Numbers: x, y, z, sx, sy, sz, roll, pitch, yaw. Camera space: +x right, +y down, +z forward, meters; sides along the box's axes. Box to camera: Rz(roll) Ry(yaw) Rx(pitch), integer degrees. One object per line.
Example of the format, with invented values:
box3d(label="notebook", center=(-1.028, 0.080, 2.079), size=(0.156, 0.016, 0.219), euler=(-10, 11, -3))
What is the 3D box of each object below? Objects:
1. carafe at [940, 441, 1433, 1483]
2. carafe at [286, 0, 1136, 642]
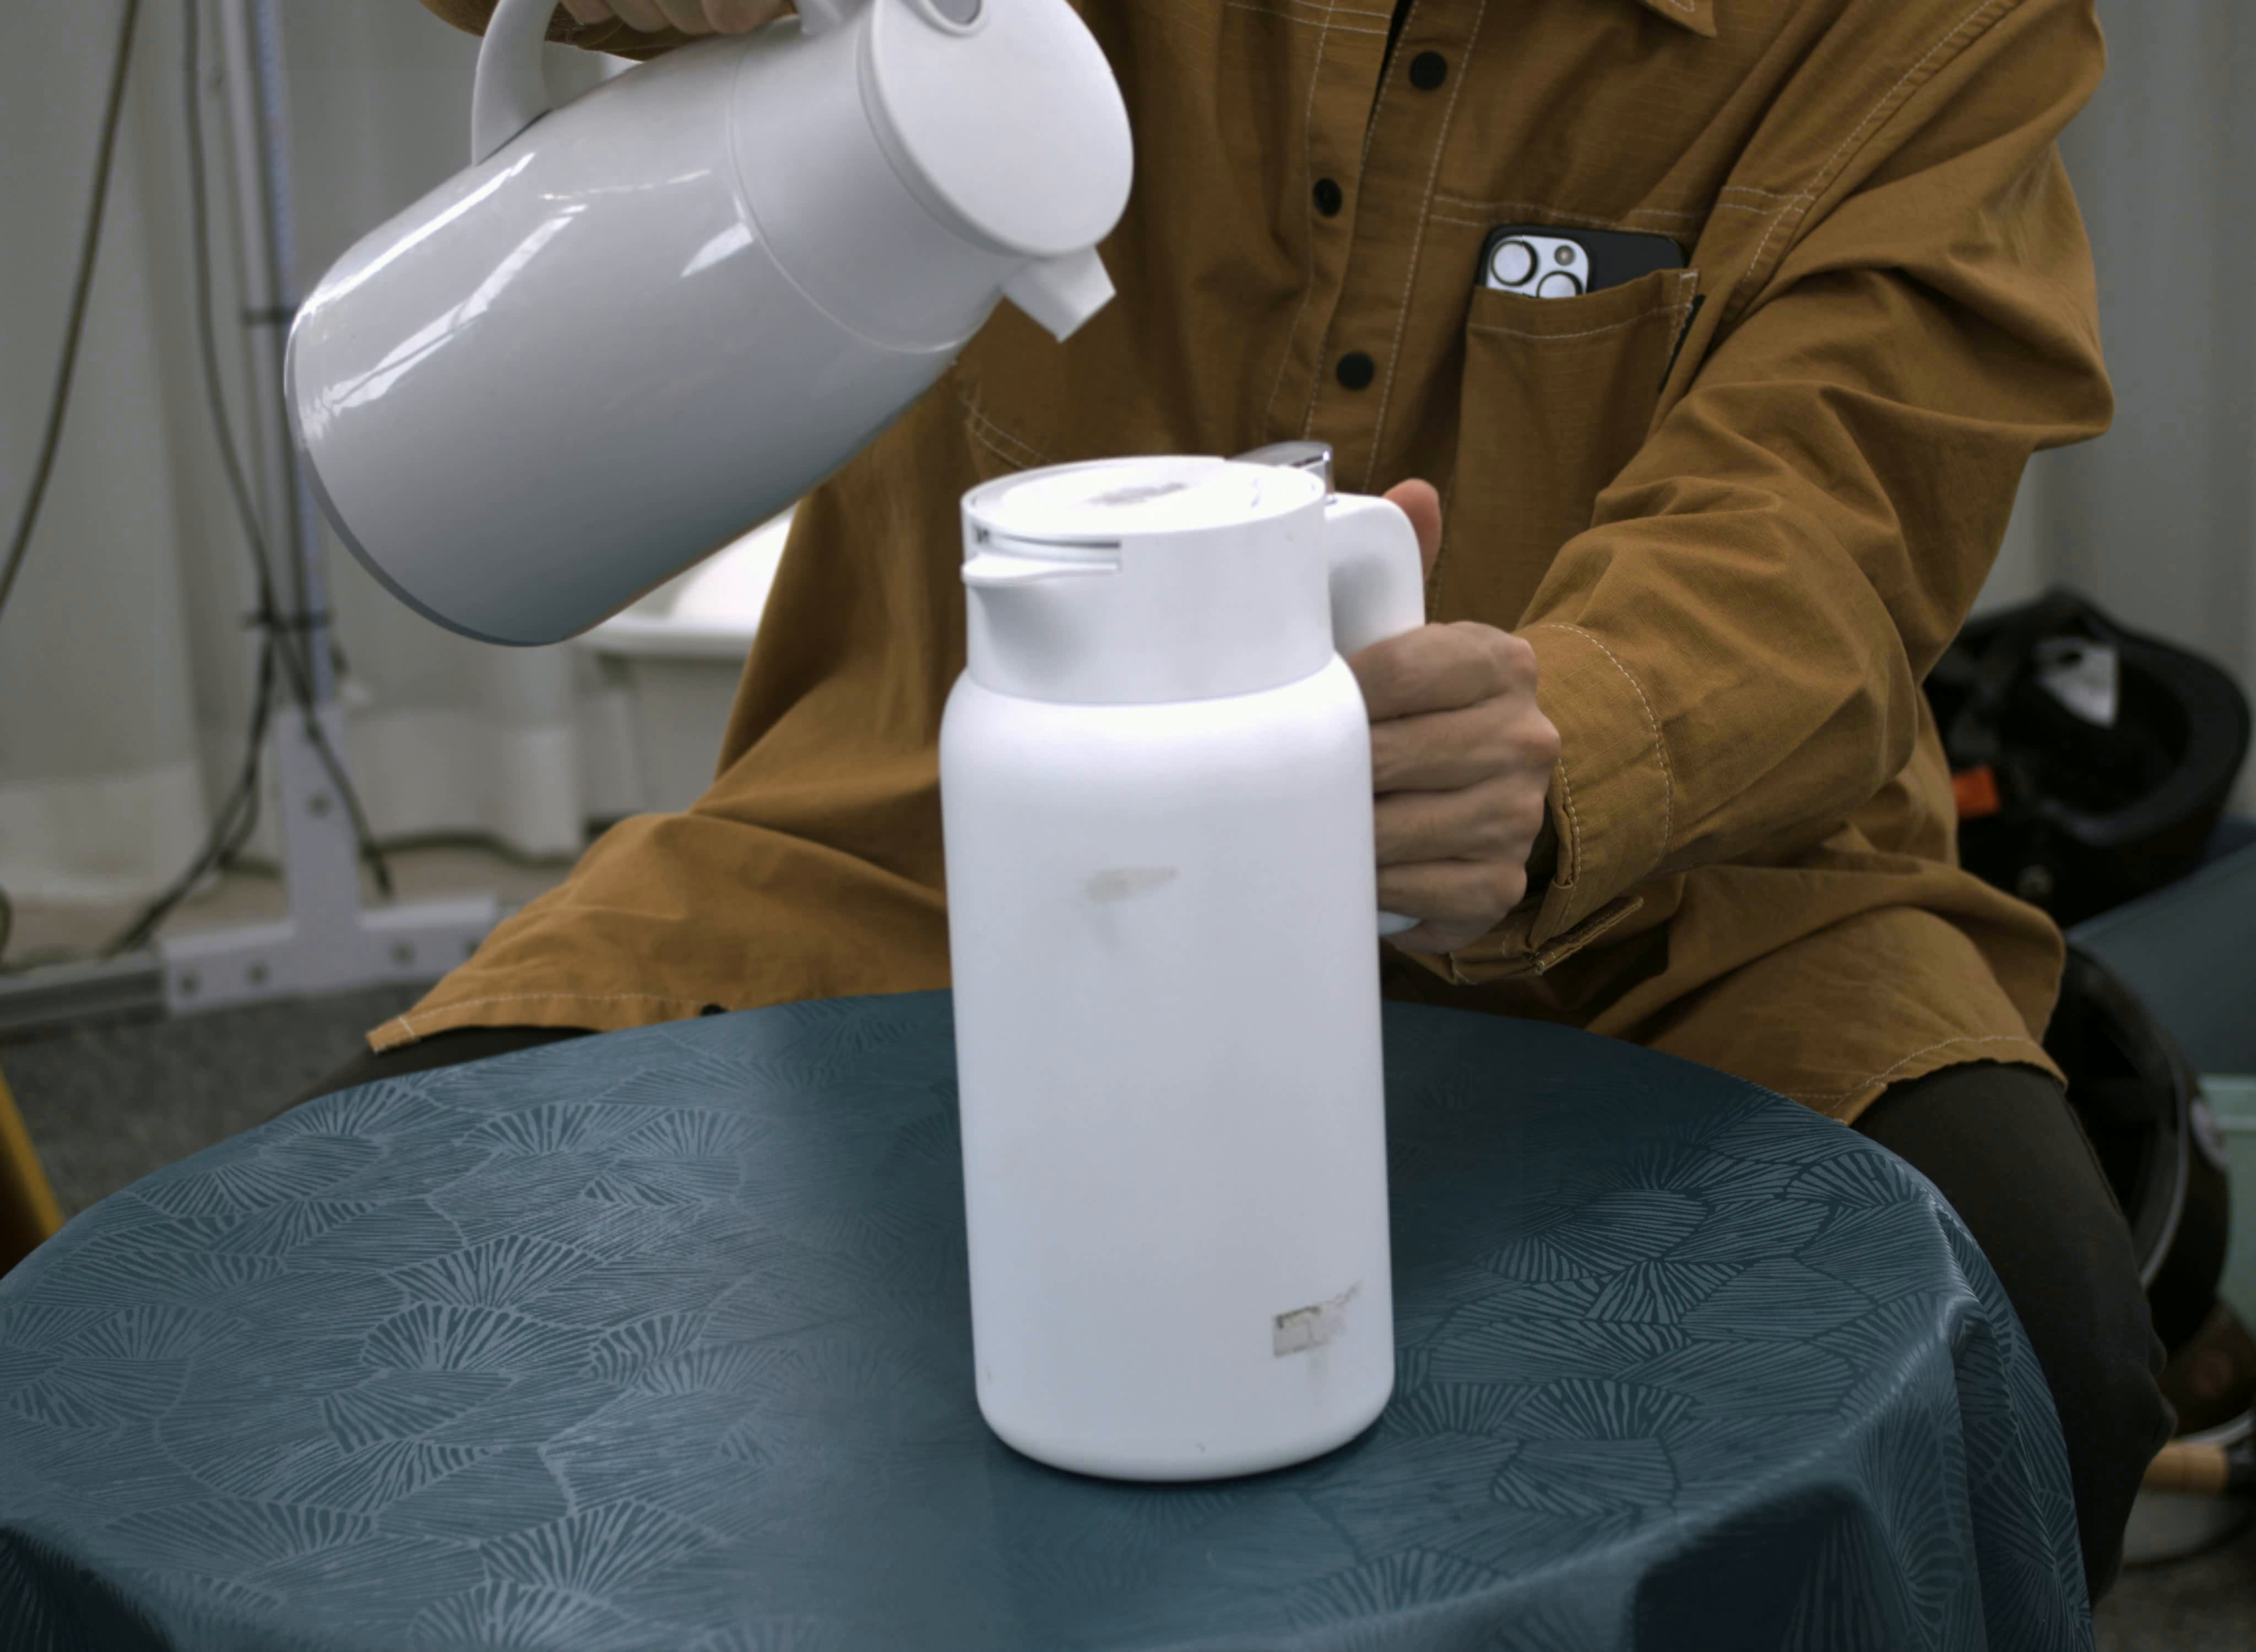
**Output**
box3d(label="carafe", center=(0.020, 0.032, 1.505), size=(0.124, 0.268, 0.172), euler=(6, 16, 40))
box3d(label="carafe", center=(-0.121, -0.171, 1.524), size=(0.247, 0.167, 0.133), euler=(-28, 11, 41))
